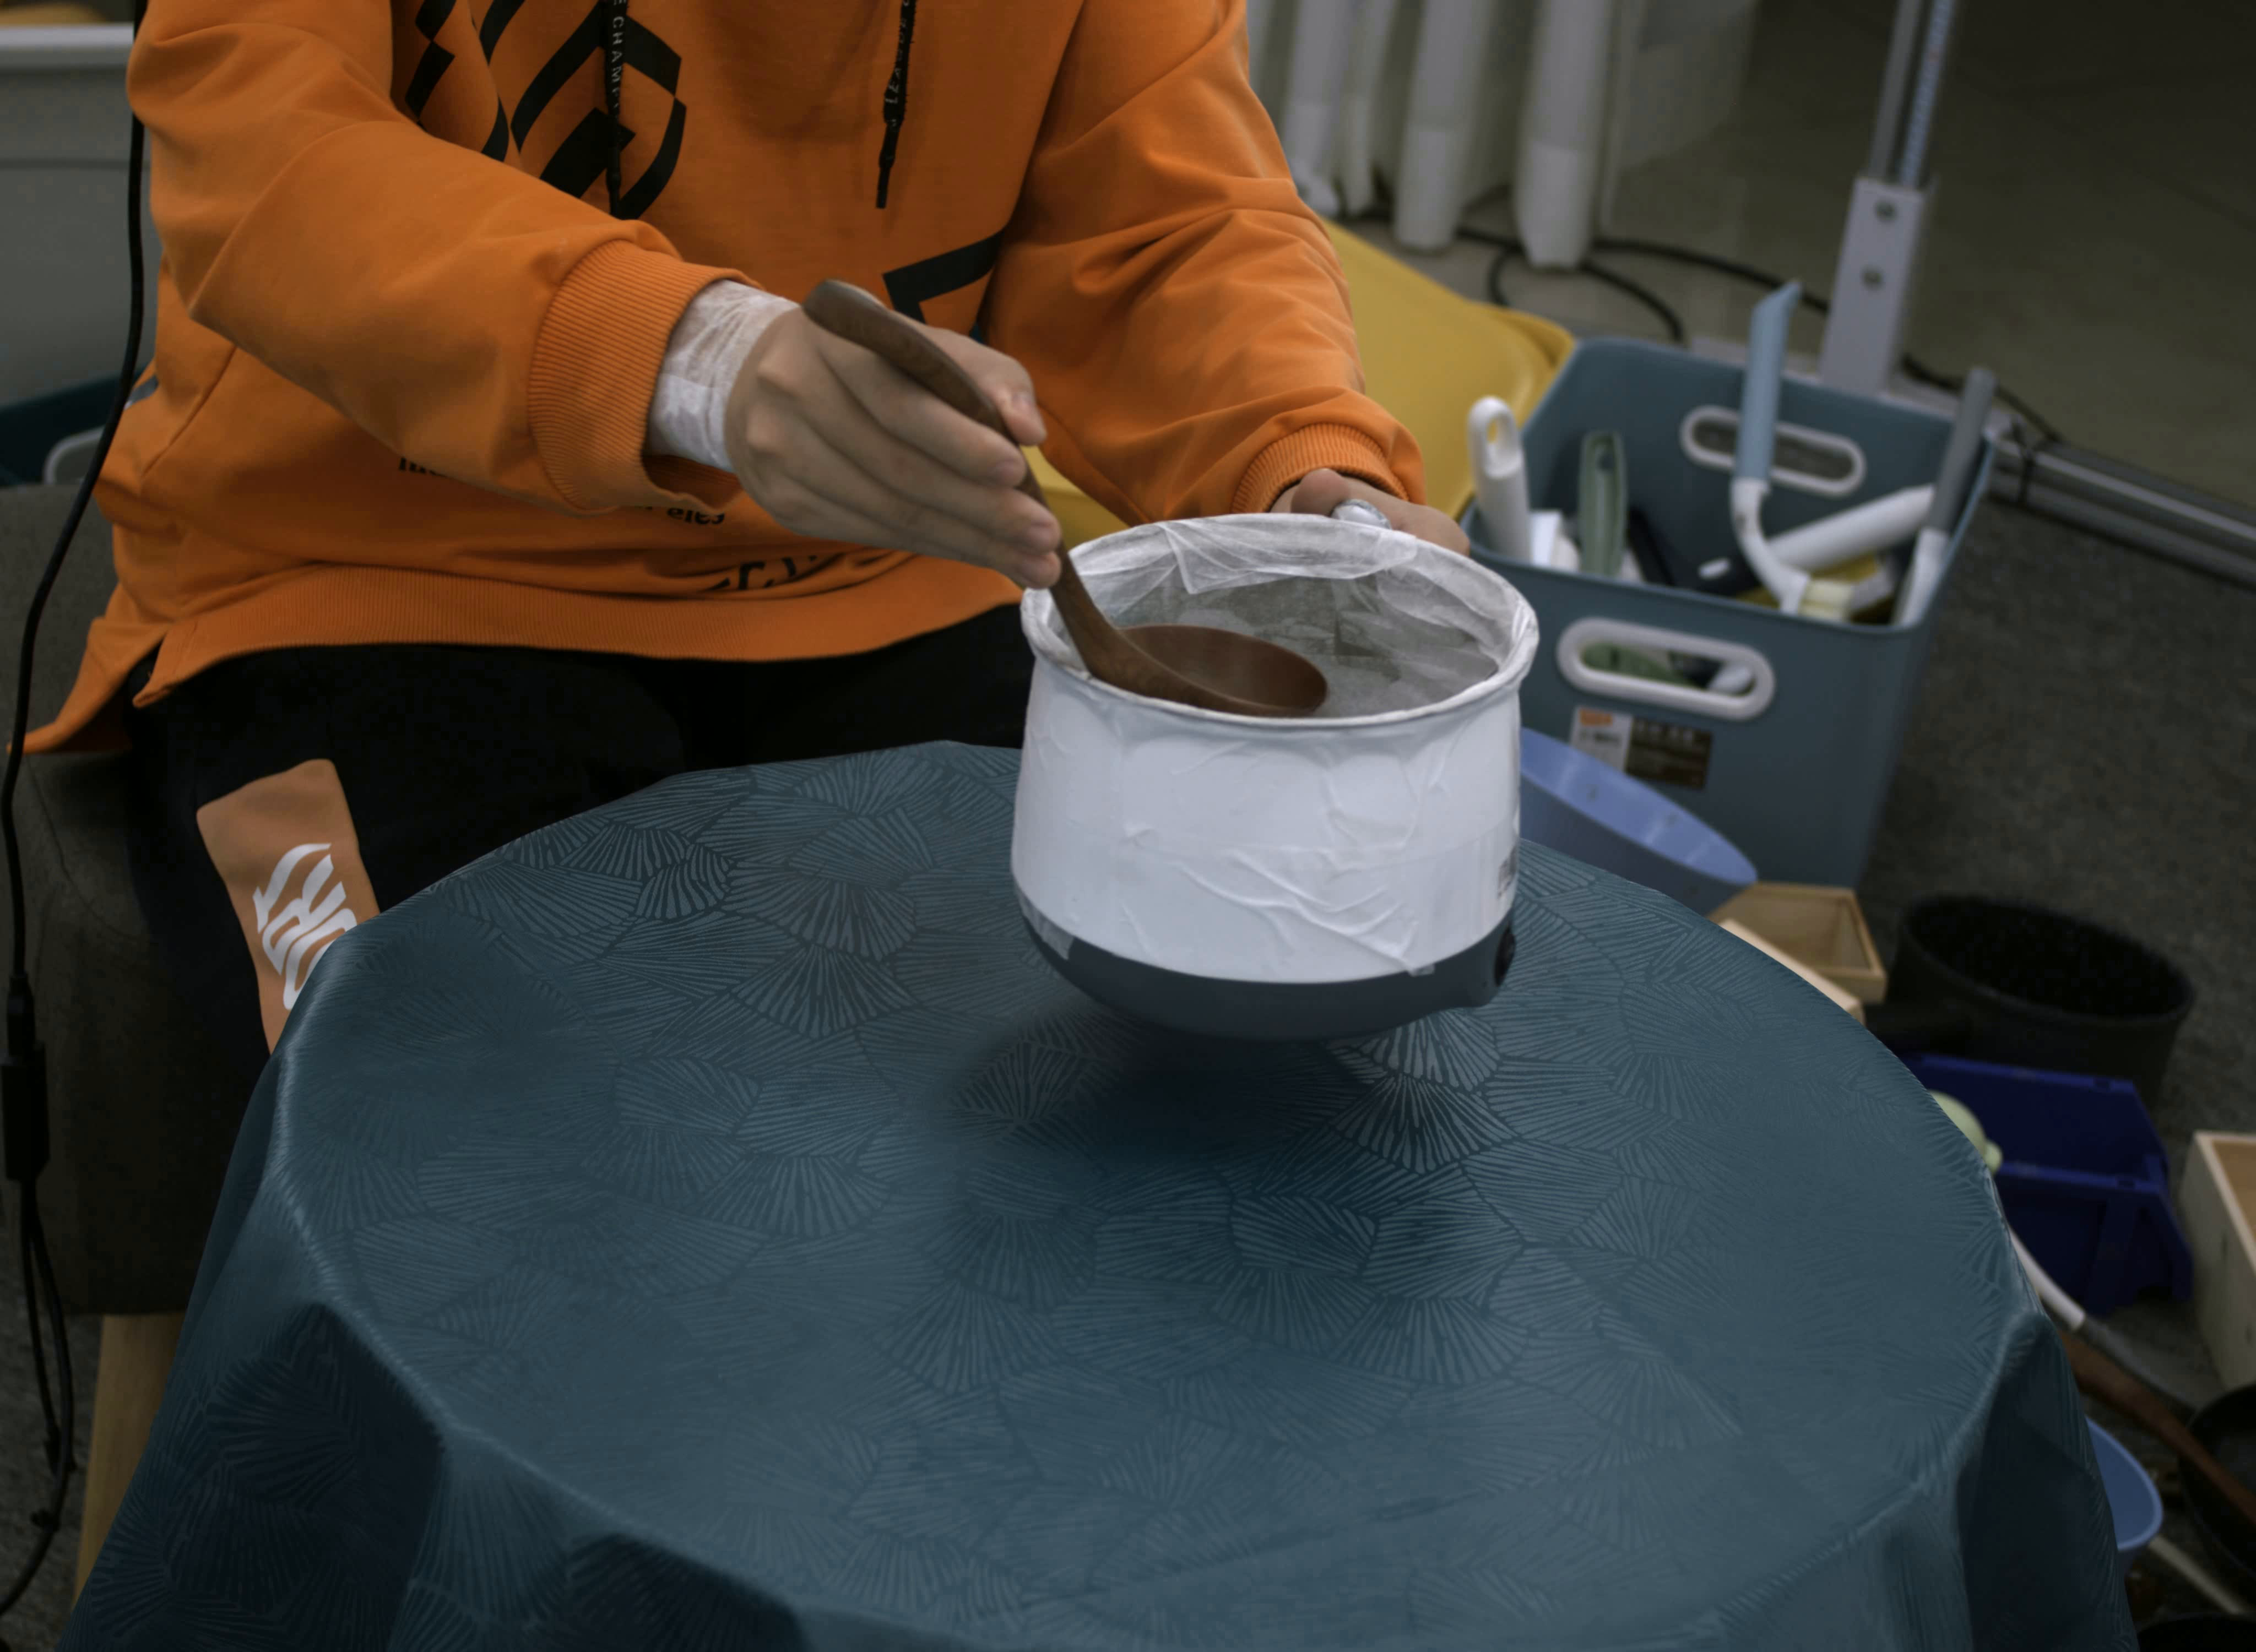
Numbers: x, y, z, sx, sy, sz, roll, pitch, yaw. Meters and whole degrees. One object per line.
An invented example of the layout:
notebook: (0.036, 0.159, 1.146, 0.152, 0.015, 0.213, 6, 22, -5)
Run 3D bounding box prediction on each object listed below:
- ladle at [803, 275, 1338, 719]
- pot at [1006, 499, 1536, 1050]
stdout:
ladle: (-0.016, -0.107, 1.742, 0.065, 0.258, 0.077, -47, 38, -11)
pot: (0.055, -0.026, 1.862, 0.179, 0.136, 0.234, 10, 27, 13)
